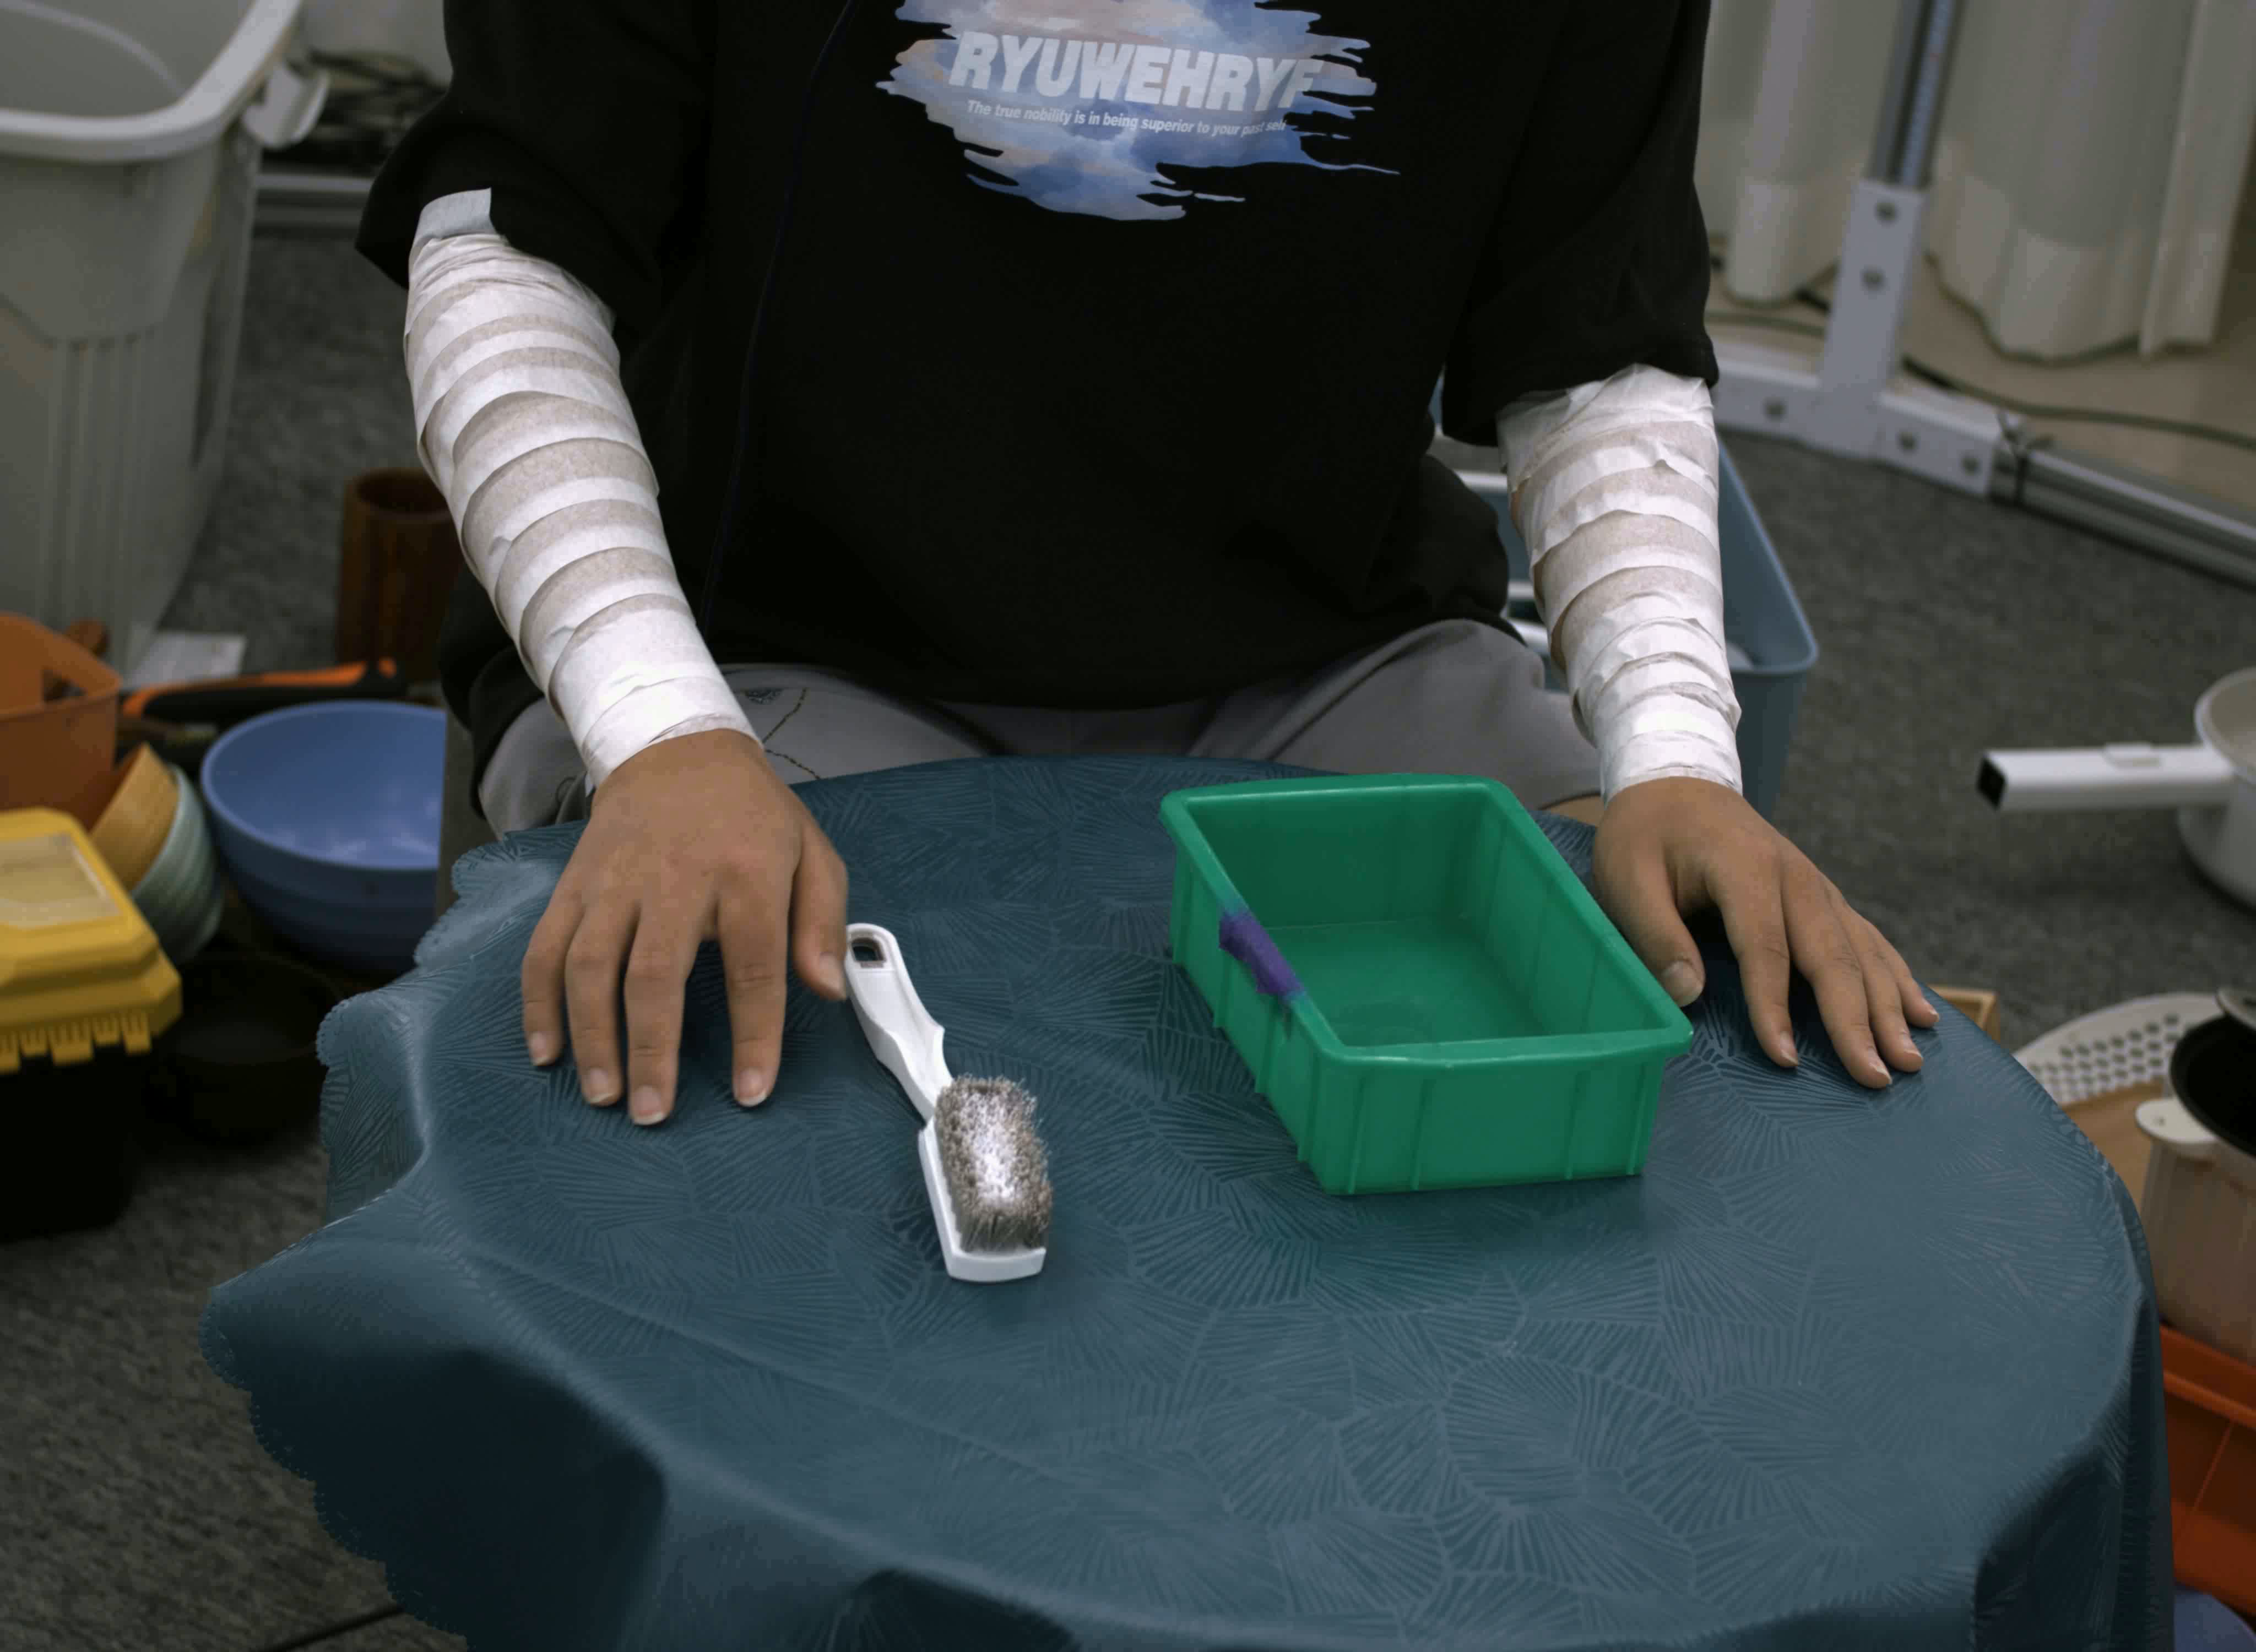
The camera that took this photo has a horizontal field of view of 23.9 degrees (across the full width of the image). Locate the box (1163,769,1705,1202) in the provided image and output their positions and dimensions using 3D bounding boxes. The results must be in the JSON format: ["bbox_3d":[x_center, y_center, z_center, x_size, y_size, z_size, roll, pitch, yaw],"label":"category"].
[{"bbox_3d":[0.103,0.057,1.890,0.138,0.065,0.212,-6,30,-18],"label":"box"}]

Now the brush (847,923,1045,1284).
[{"bbox_3d":[-0.066,0.077,1.827,0.034,0.050,0.245,-1,28,-12],"label":"brush"}]
